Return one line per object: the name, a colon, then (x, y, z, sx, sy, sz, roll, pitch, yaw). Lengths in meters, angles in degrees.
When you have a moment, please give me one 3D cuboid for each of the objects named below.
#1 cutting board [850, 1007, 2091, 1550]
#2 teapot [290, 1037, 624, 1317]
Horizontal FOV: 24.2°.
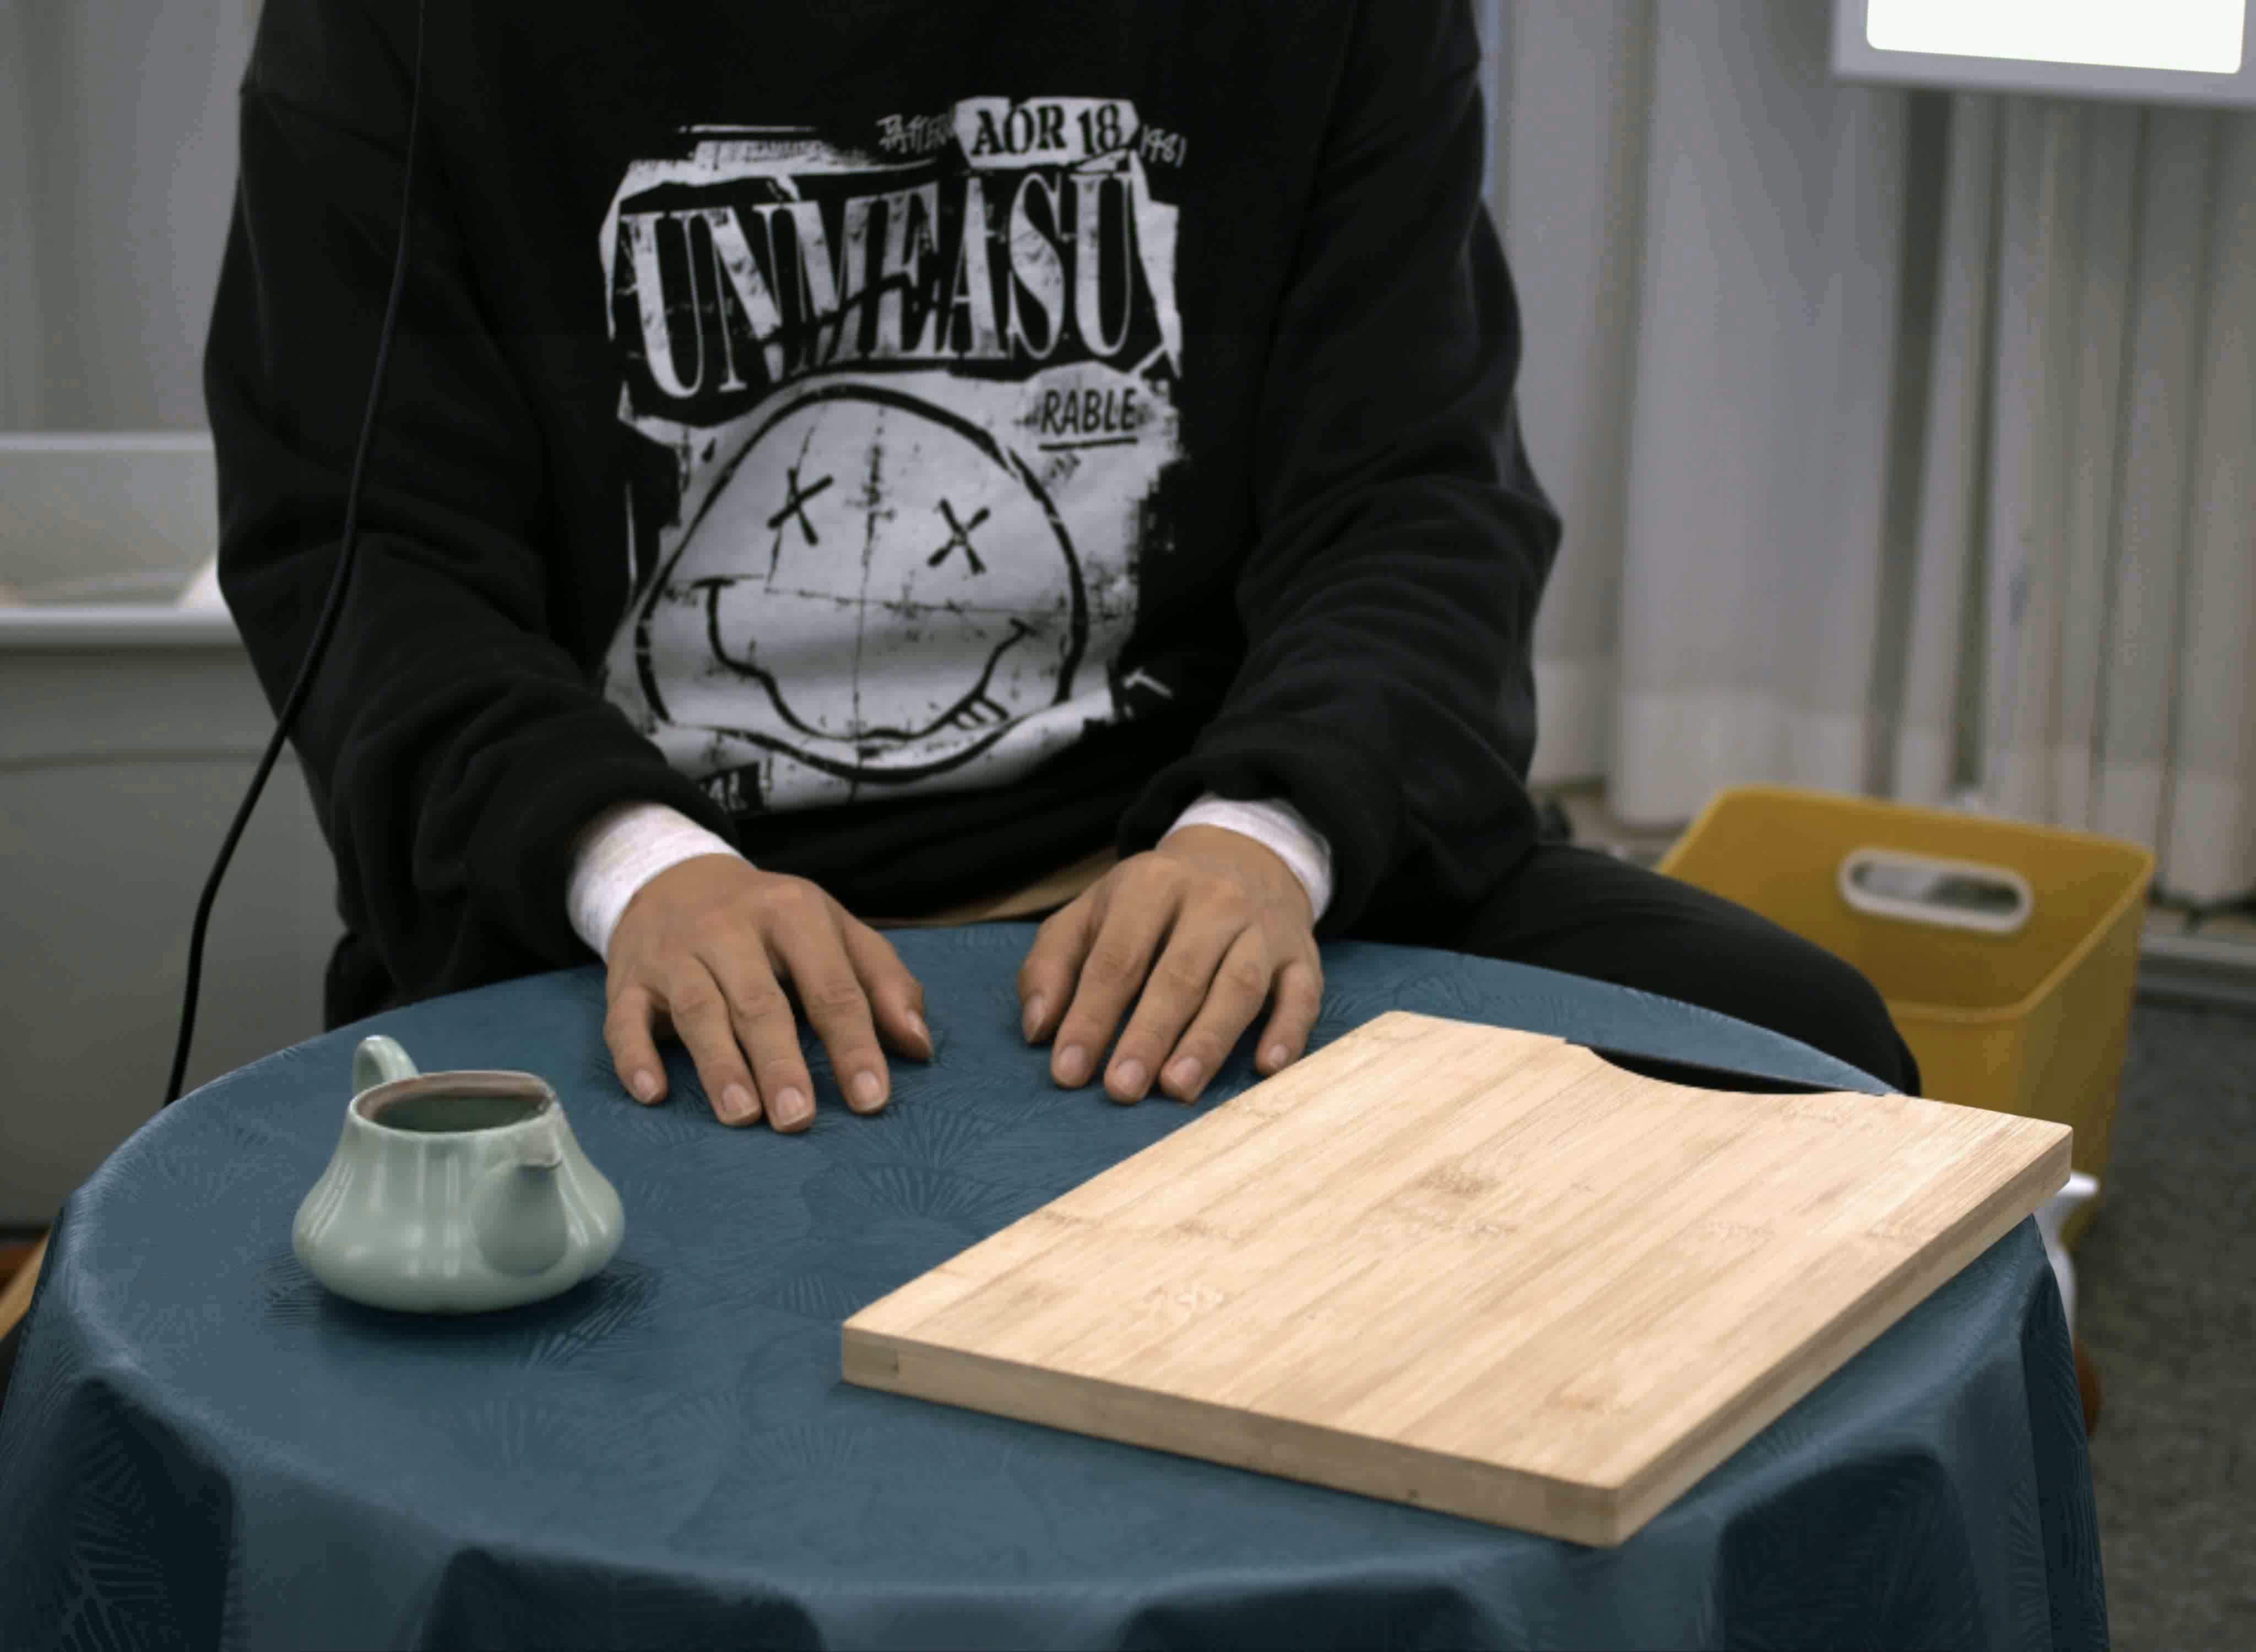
cutting board: (0.110, 0.123, 1.556, 0.248, 0.024, 0.349, 9, 18, 27)
teapot: (-0.198, 0.104, 1.533, 0.096, 0.062, 0.135, -11, 20, -32)
